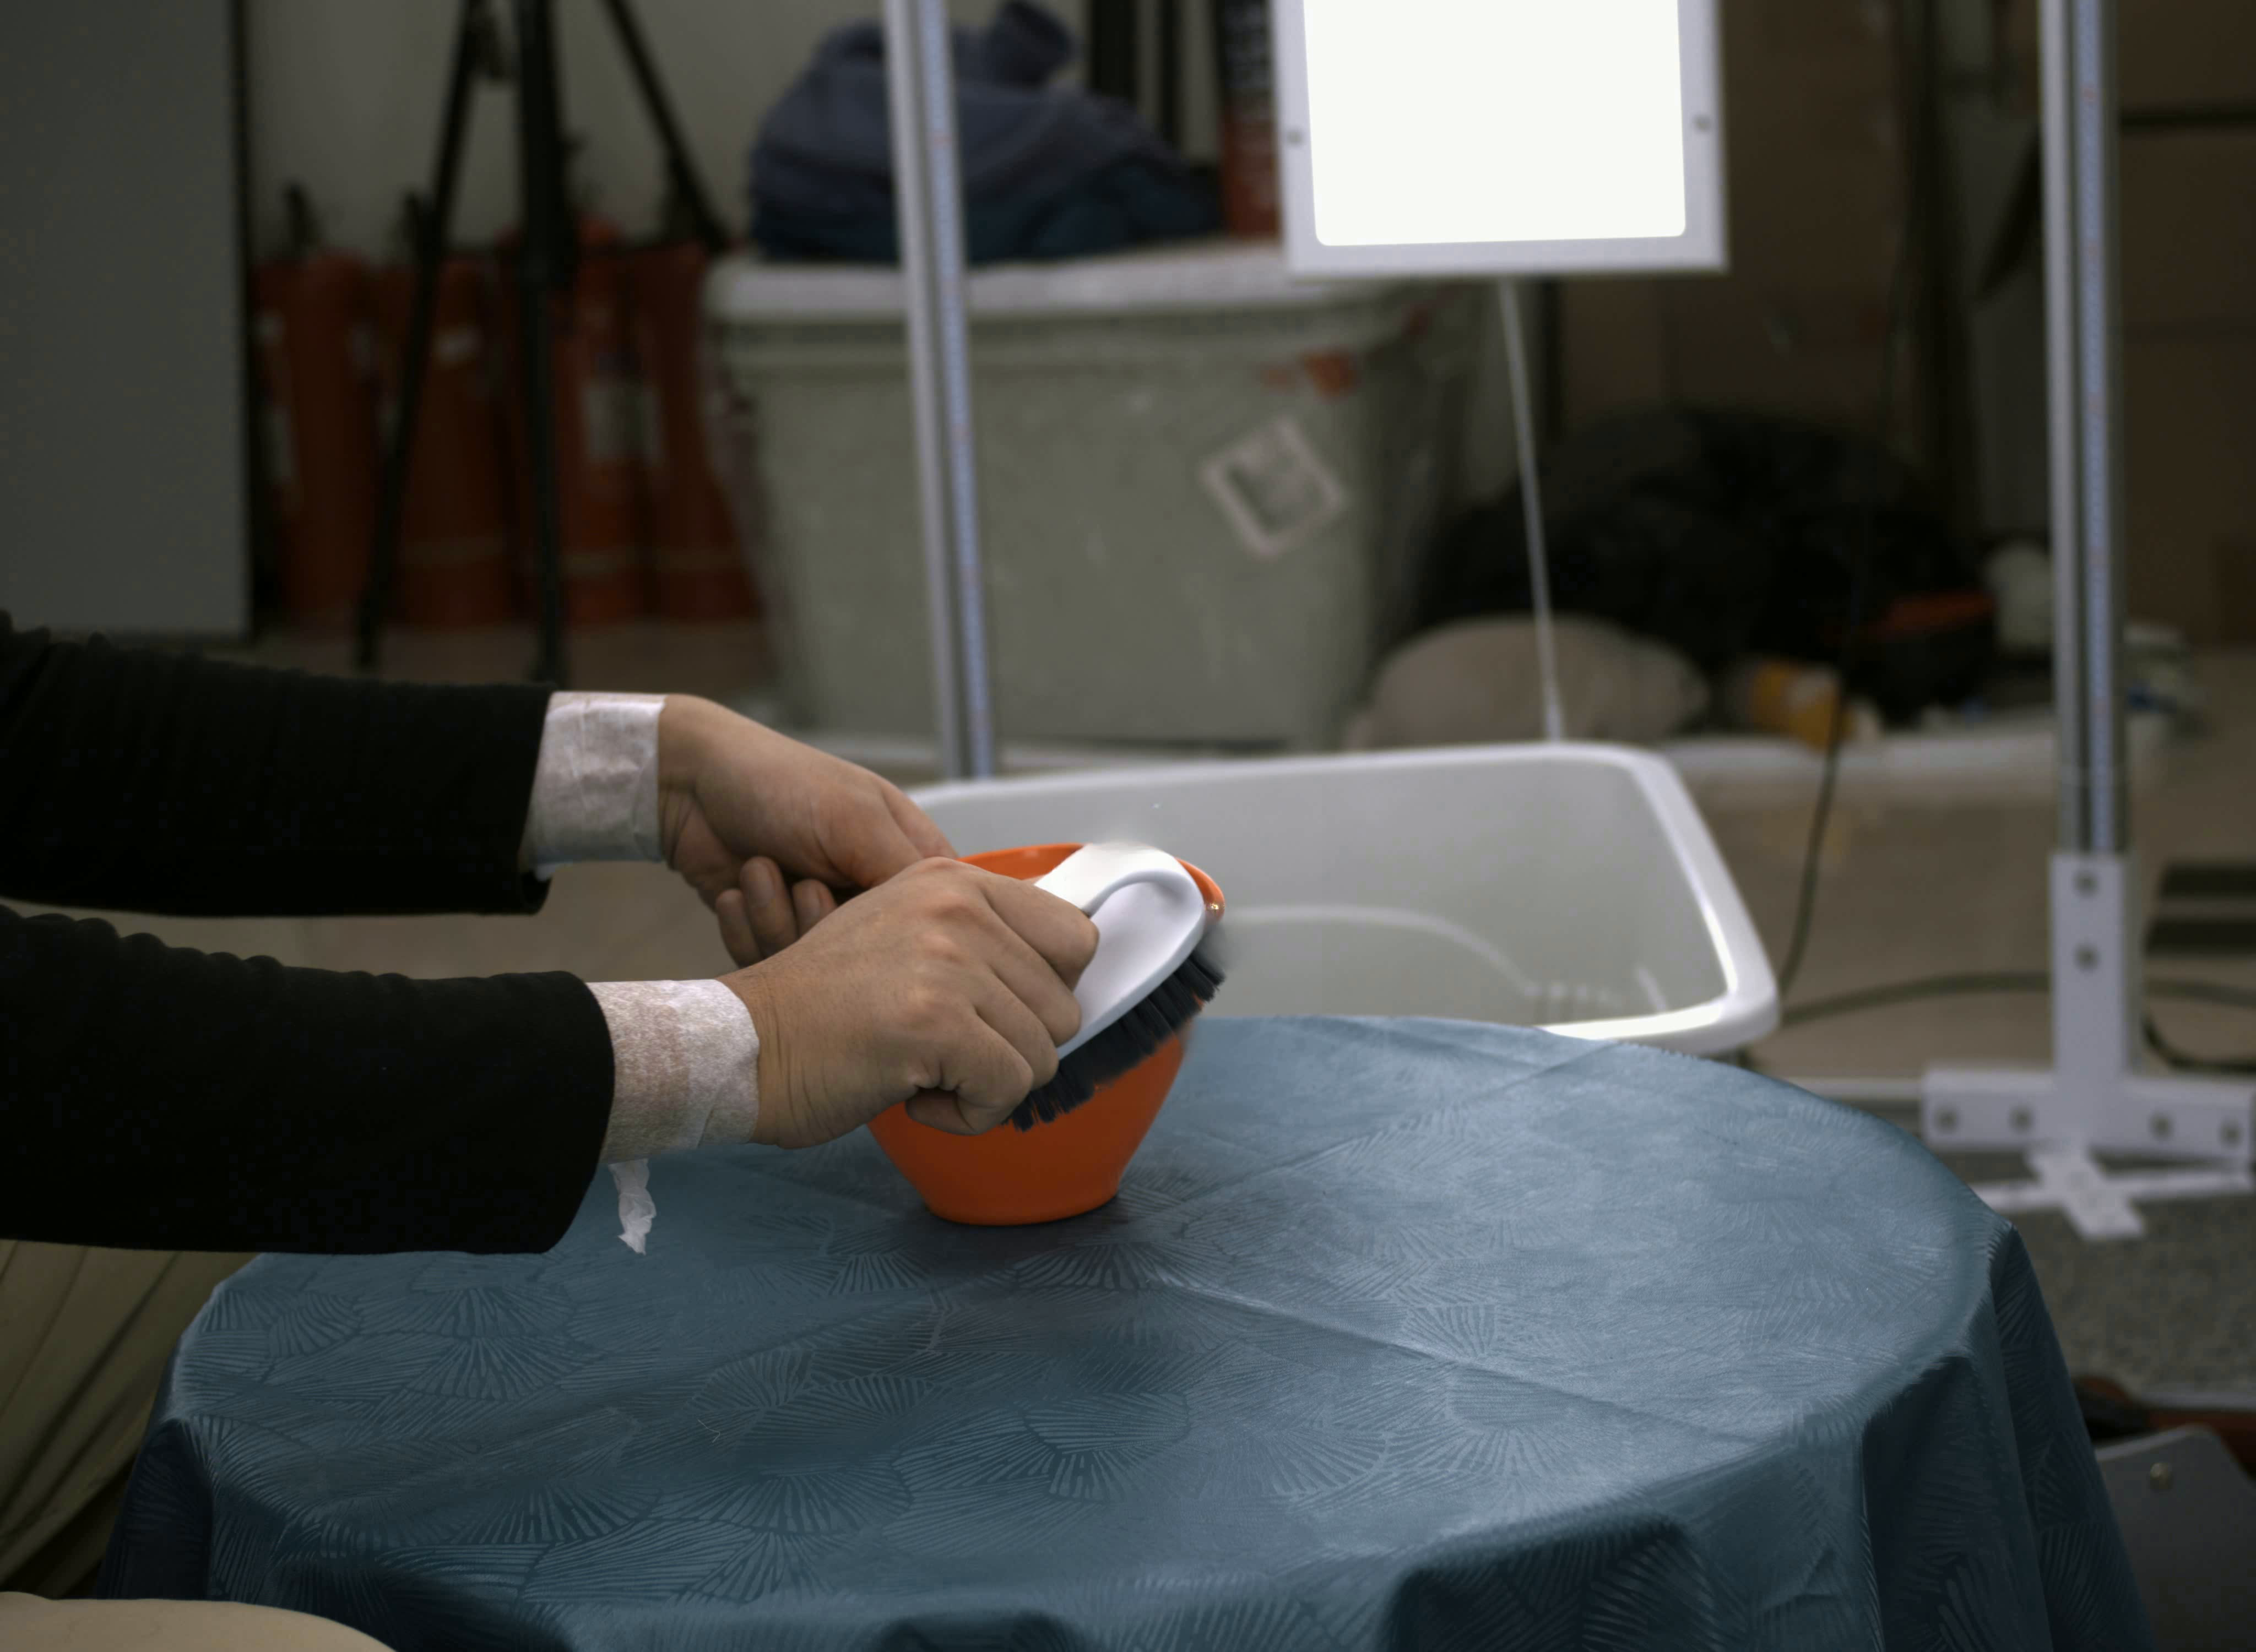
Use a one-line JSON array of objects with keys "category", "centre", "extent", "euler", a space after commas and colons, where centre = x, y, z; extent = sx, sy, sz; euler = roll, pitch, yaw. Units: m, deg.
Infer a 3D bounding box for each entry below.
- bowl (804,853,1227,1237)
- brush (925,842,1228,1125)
[{"category": "bowl", "centre": [-0.035, 0.079, 1.900], "extent": [0.148, 0.105, 0.148], "euler": [-6, 14, 0]}, {"category": "brush", "centre": [-0.020, 0.044, 1.757], "extent": [0.099, 0.072, 0.051], "euler": [-35, 55, -6]}]
